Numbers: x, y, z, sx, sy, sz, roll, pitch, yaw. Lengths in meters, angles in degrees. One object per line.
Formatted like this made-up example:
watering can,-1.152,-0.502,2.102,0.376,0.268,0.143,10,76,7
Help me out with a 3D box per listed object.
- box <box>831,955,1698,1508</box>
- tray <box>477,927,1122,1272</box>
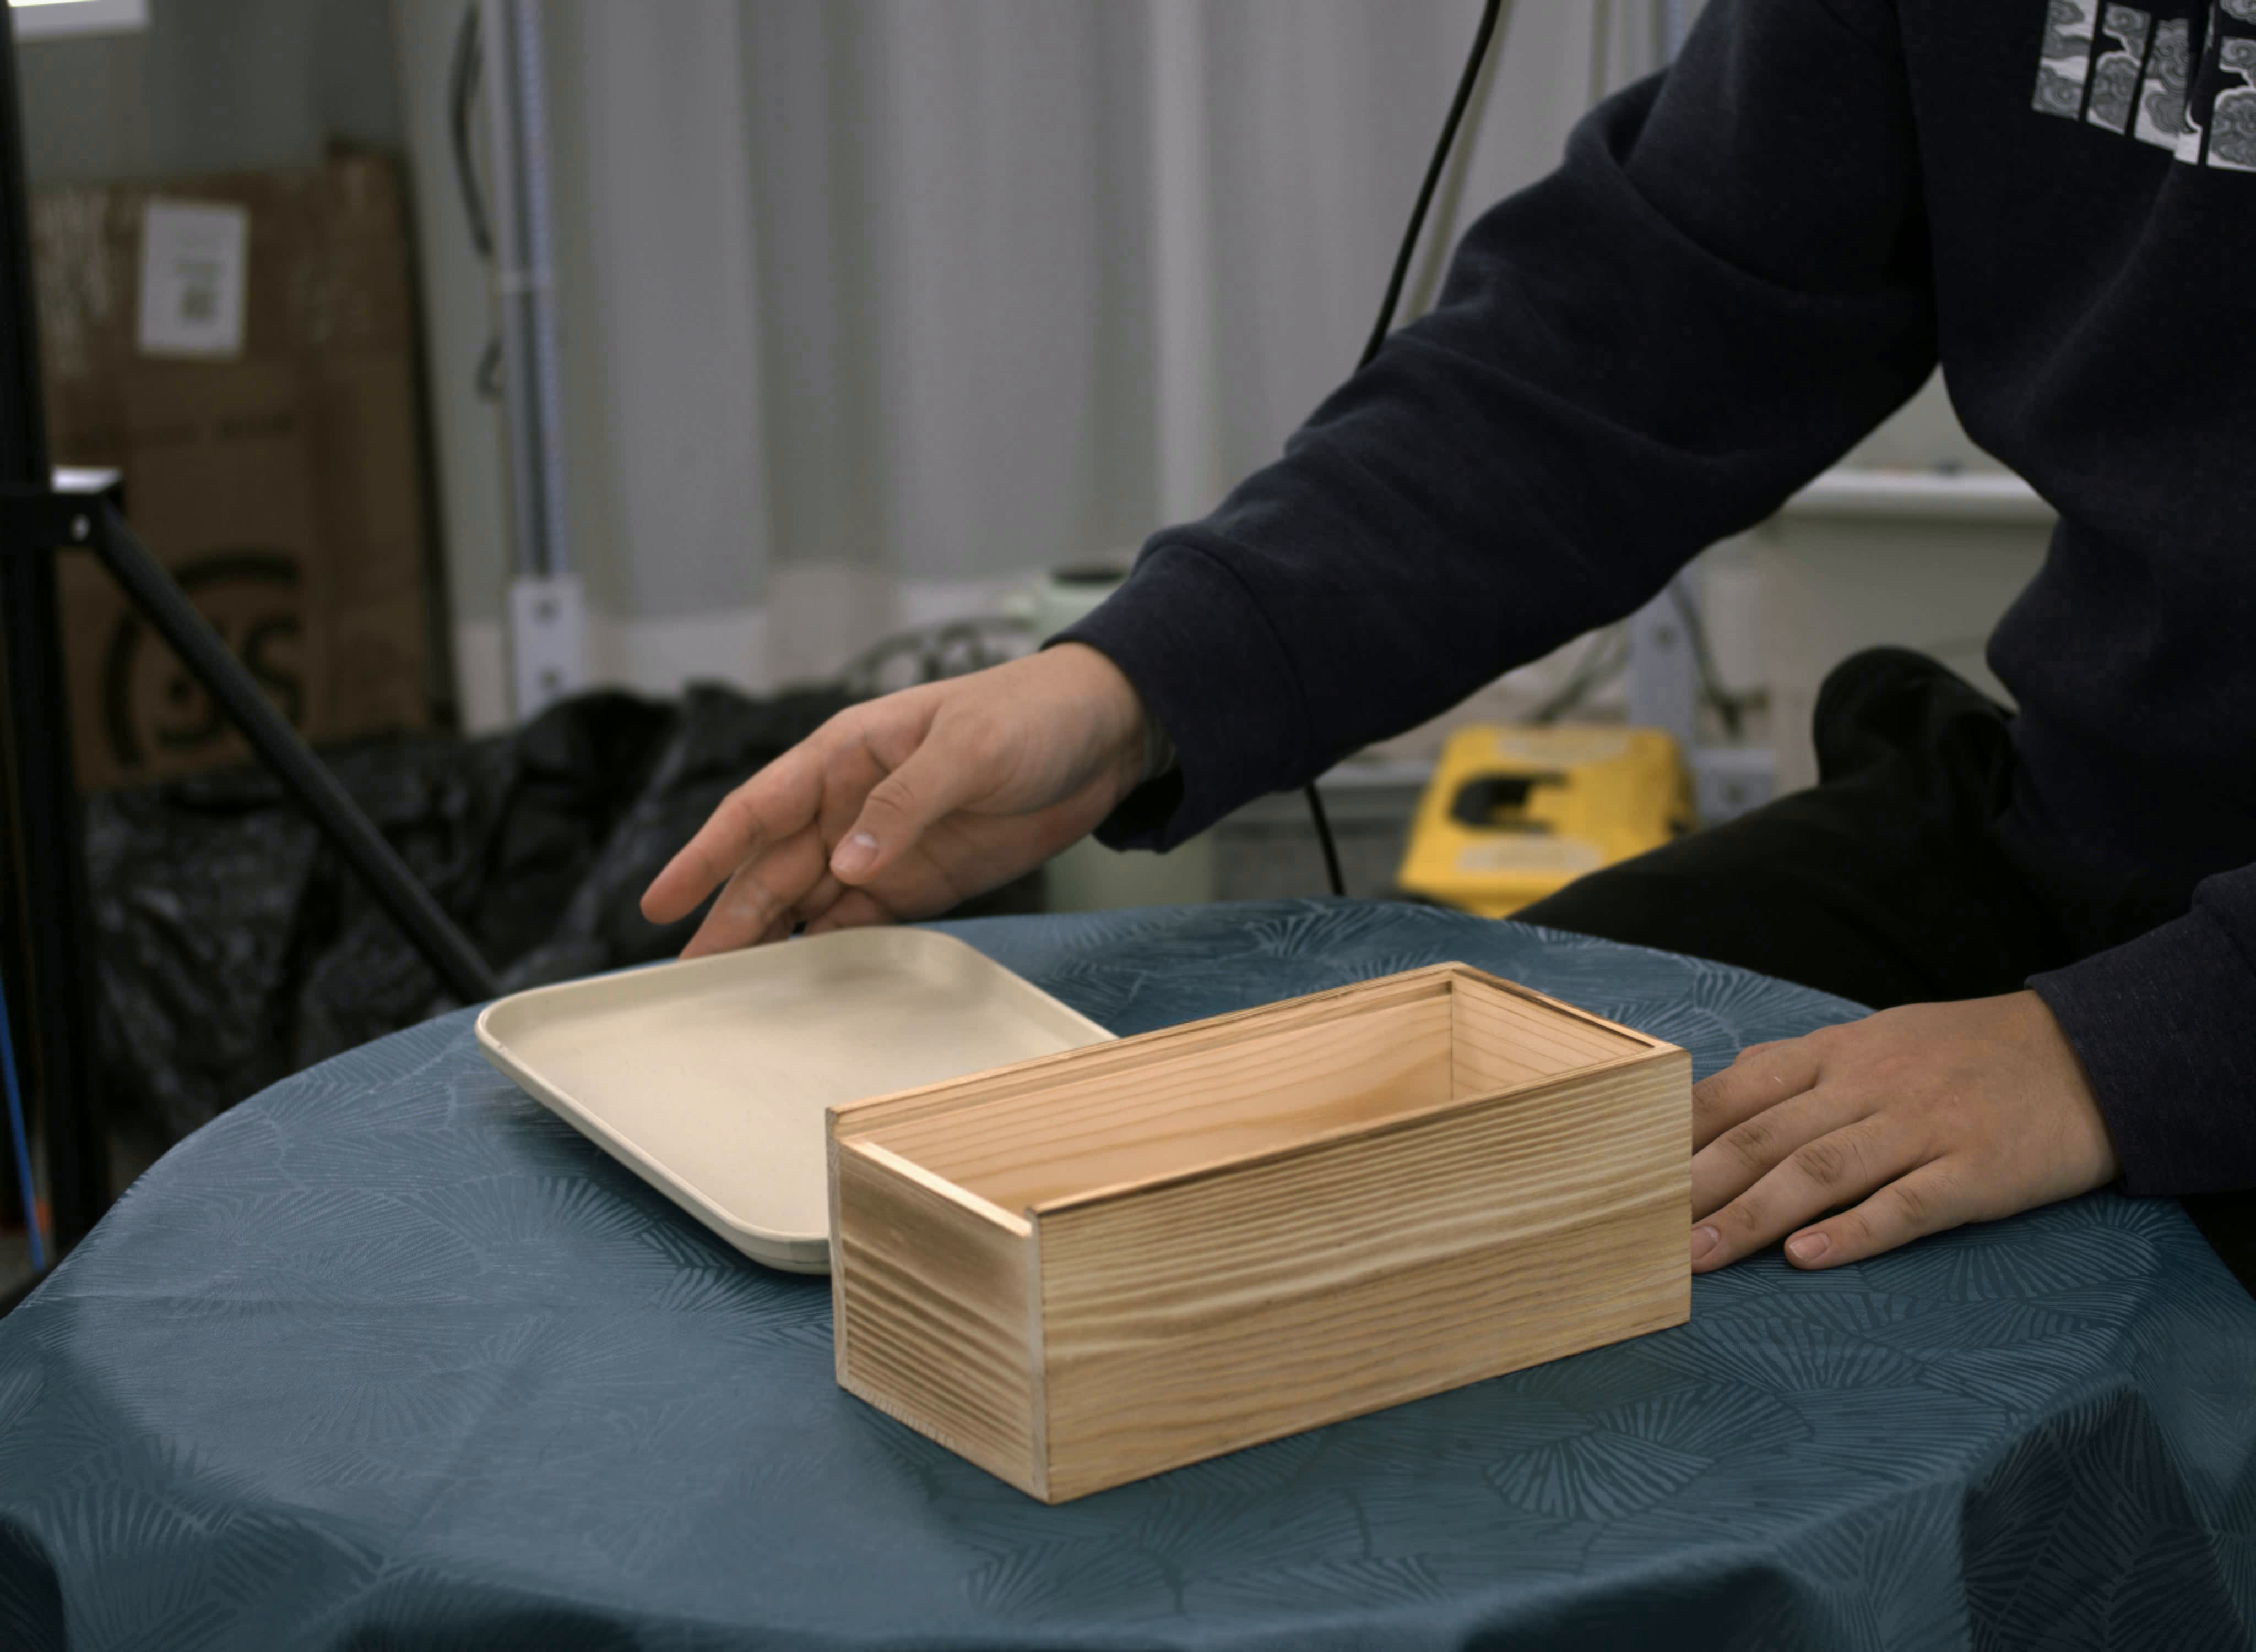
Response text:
box,0.038,0.104,1.418,0.206,0.080,0.110,-12,19,-31
tray,-0.082,0.081,1.615,0.167,0.017,0.245,-10,20,-27
